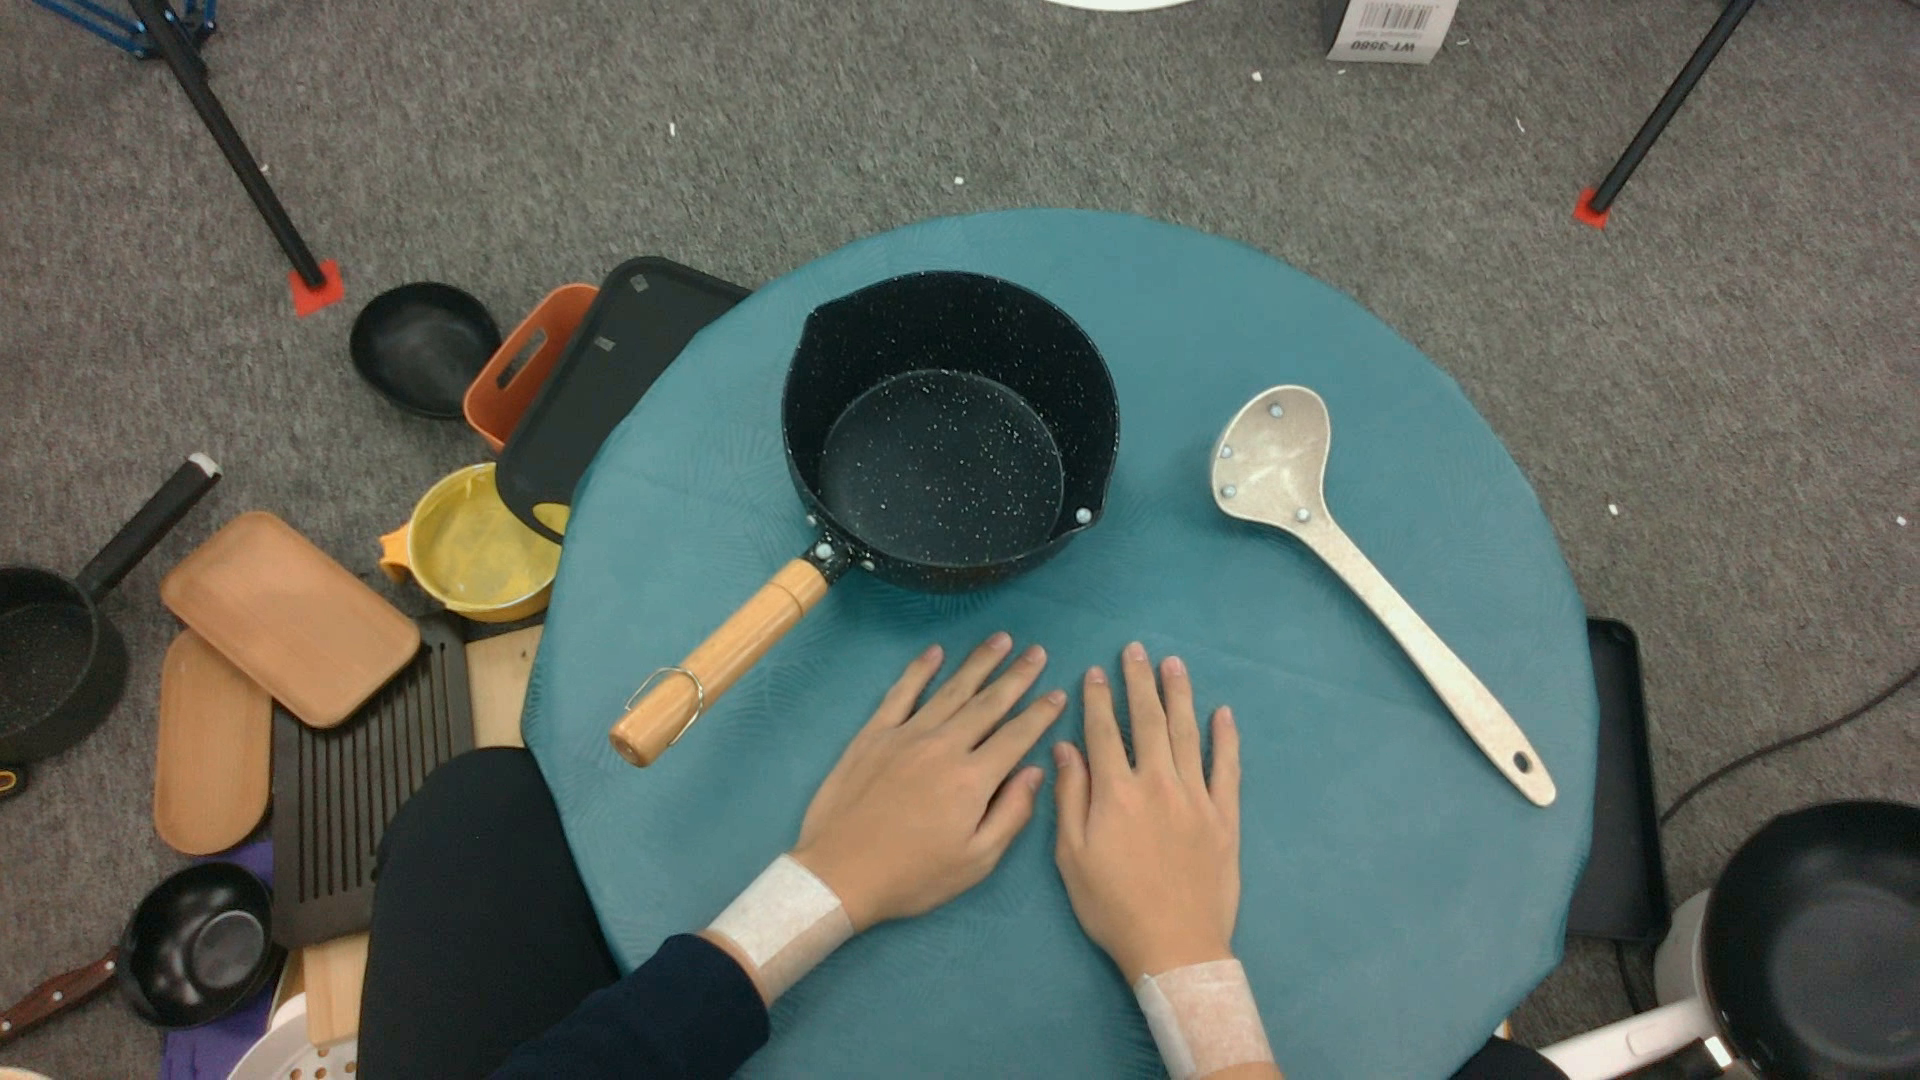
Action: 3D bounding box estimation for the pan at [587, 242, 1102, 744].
[{"bbox_3d":[-0.064,-0.013,0.736,0.207,0.108,0.344,36,67,9],"label":"pan"}]

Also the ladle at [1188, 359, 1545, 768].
[{"bbox_3d":[0.238,0.012,0.775,0.089,0.069,0.275,-35,72,-25],"label":"ladle"}]
